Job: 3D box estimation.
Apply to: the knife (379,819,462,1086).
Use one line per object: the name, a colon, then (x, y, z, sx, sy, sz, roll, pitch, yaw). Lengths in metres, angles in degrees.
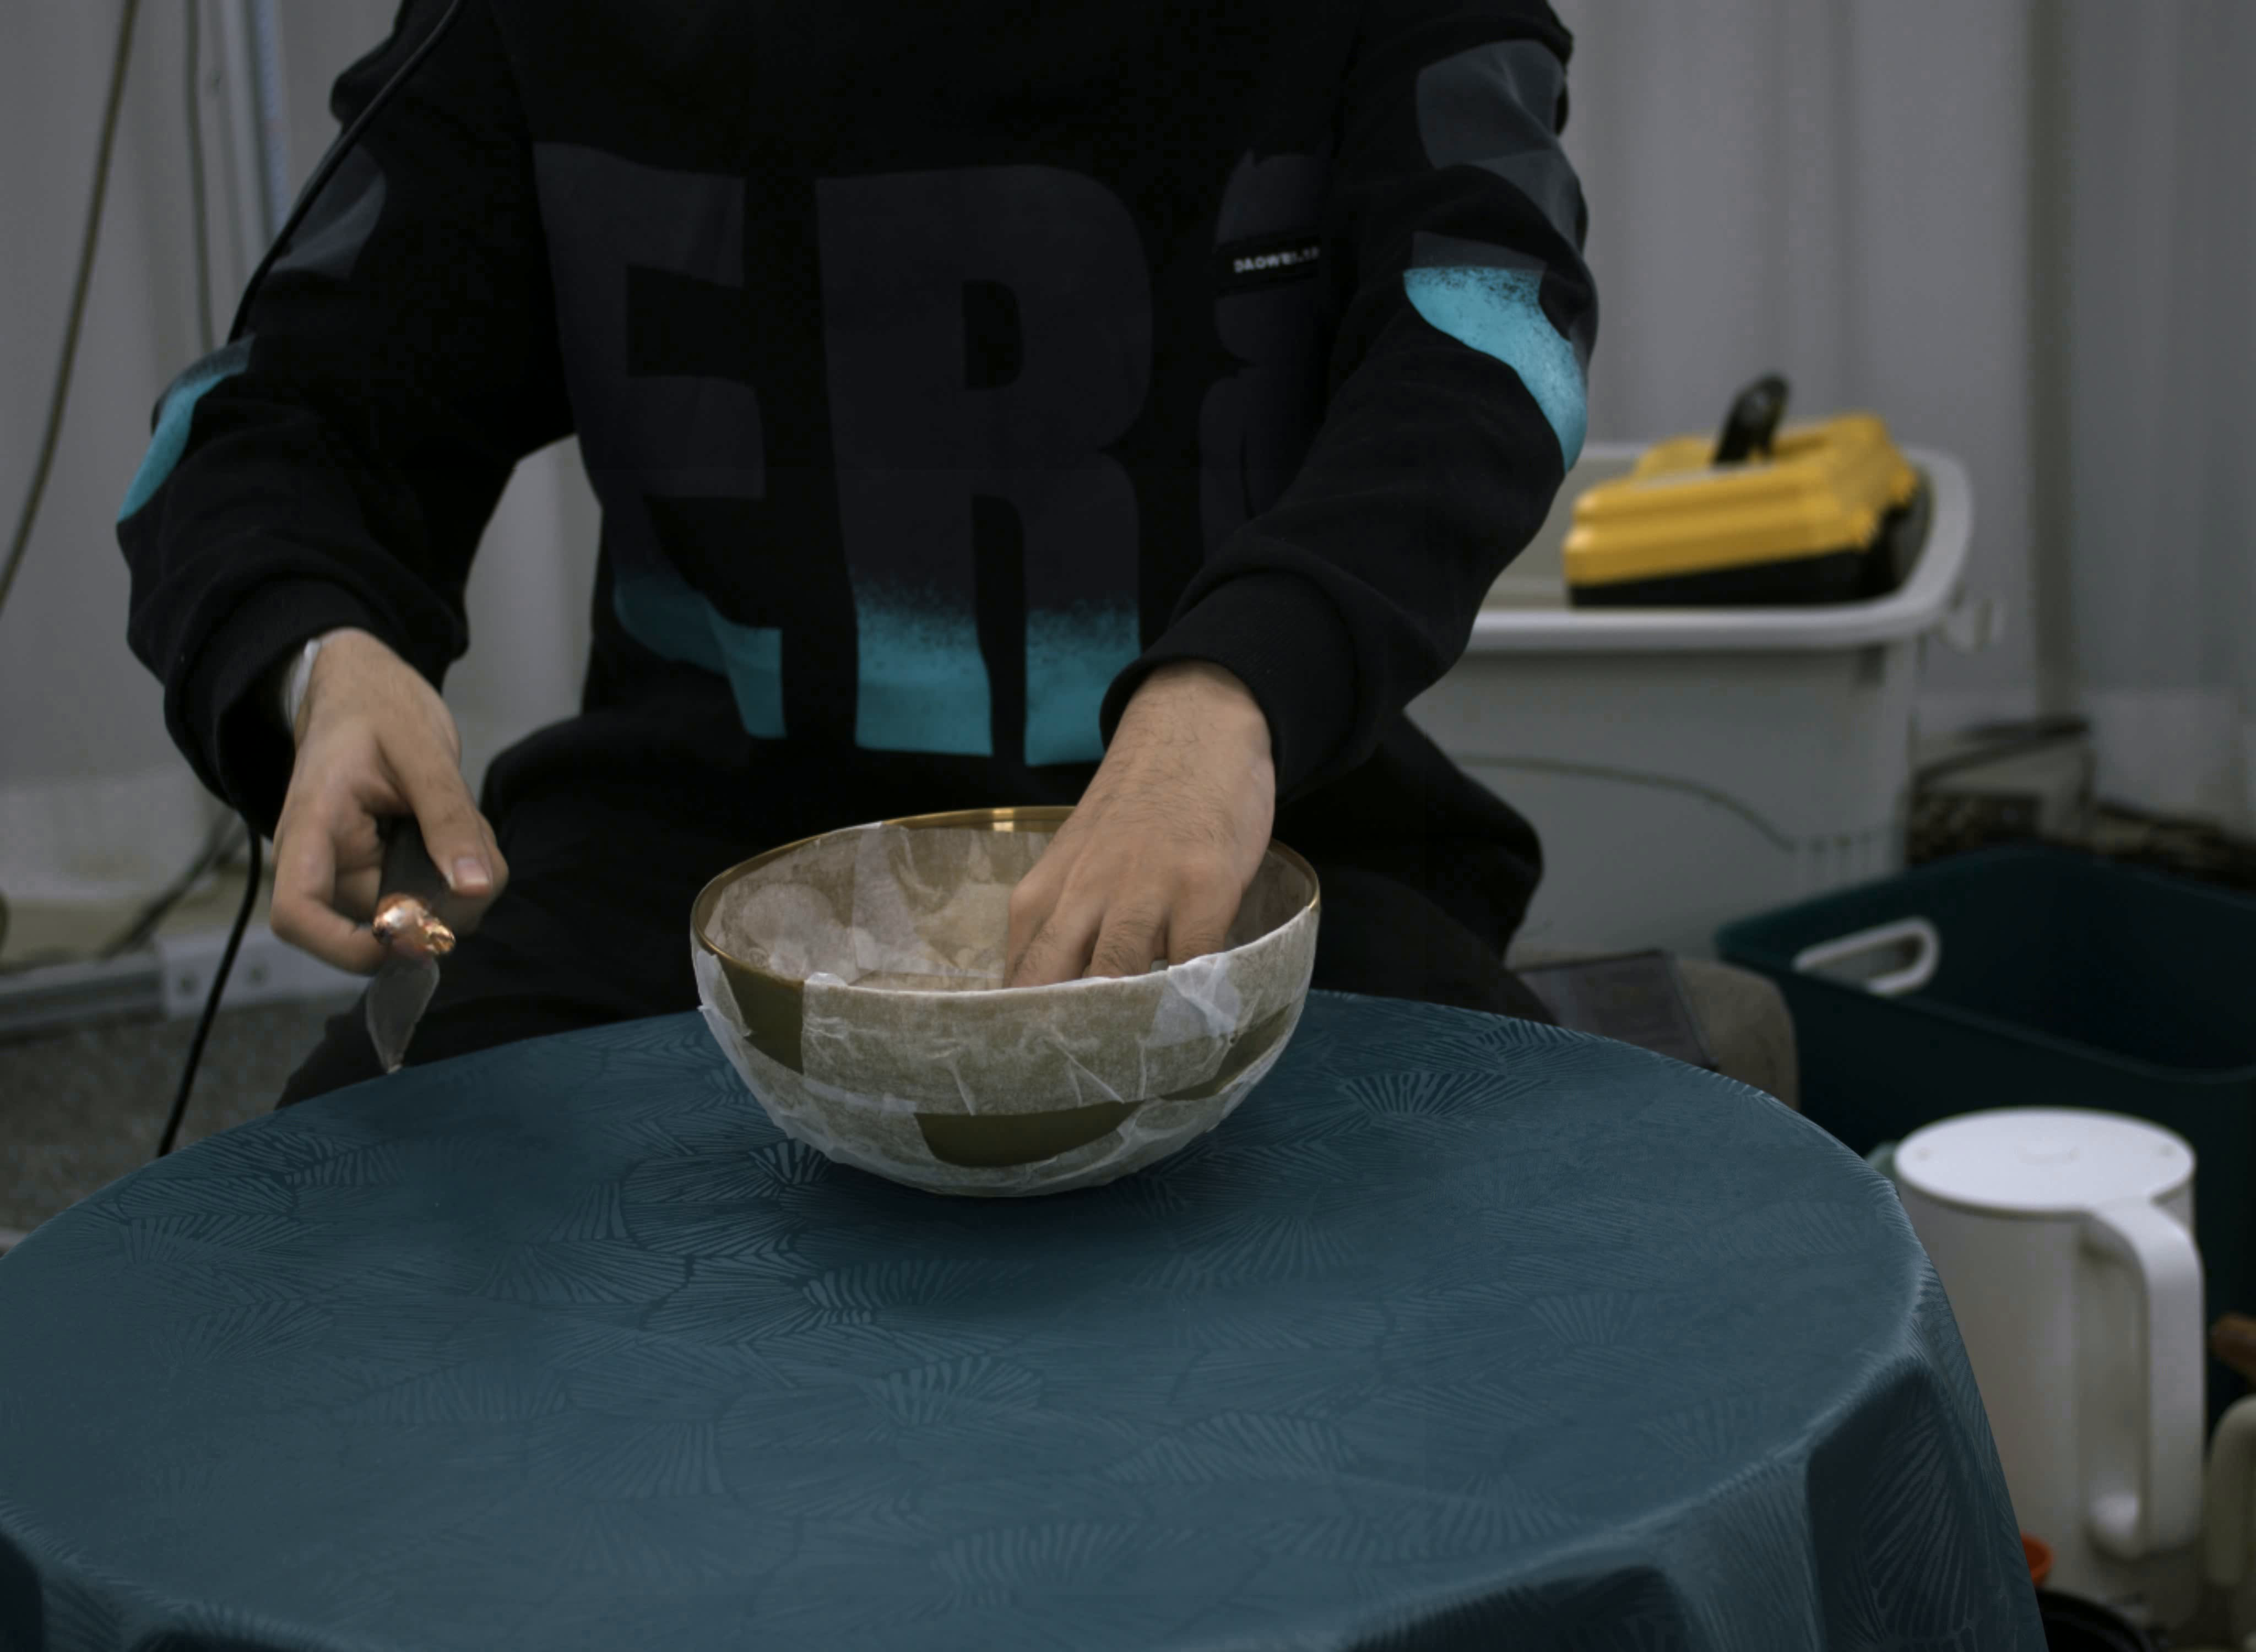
knife: (-0.222, 0.038, 1.713, 0.026, 0.017, 0.227, 14, 16, -12)

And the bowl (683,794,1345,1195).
bowl: (-0.035, 0.061, 1.736, 0.214, 0.094, 0.216, -4, 16, 1)
